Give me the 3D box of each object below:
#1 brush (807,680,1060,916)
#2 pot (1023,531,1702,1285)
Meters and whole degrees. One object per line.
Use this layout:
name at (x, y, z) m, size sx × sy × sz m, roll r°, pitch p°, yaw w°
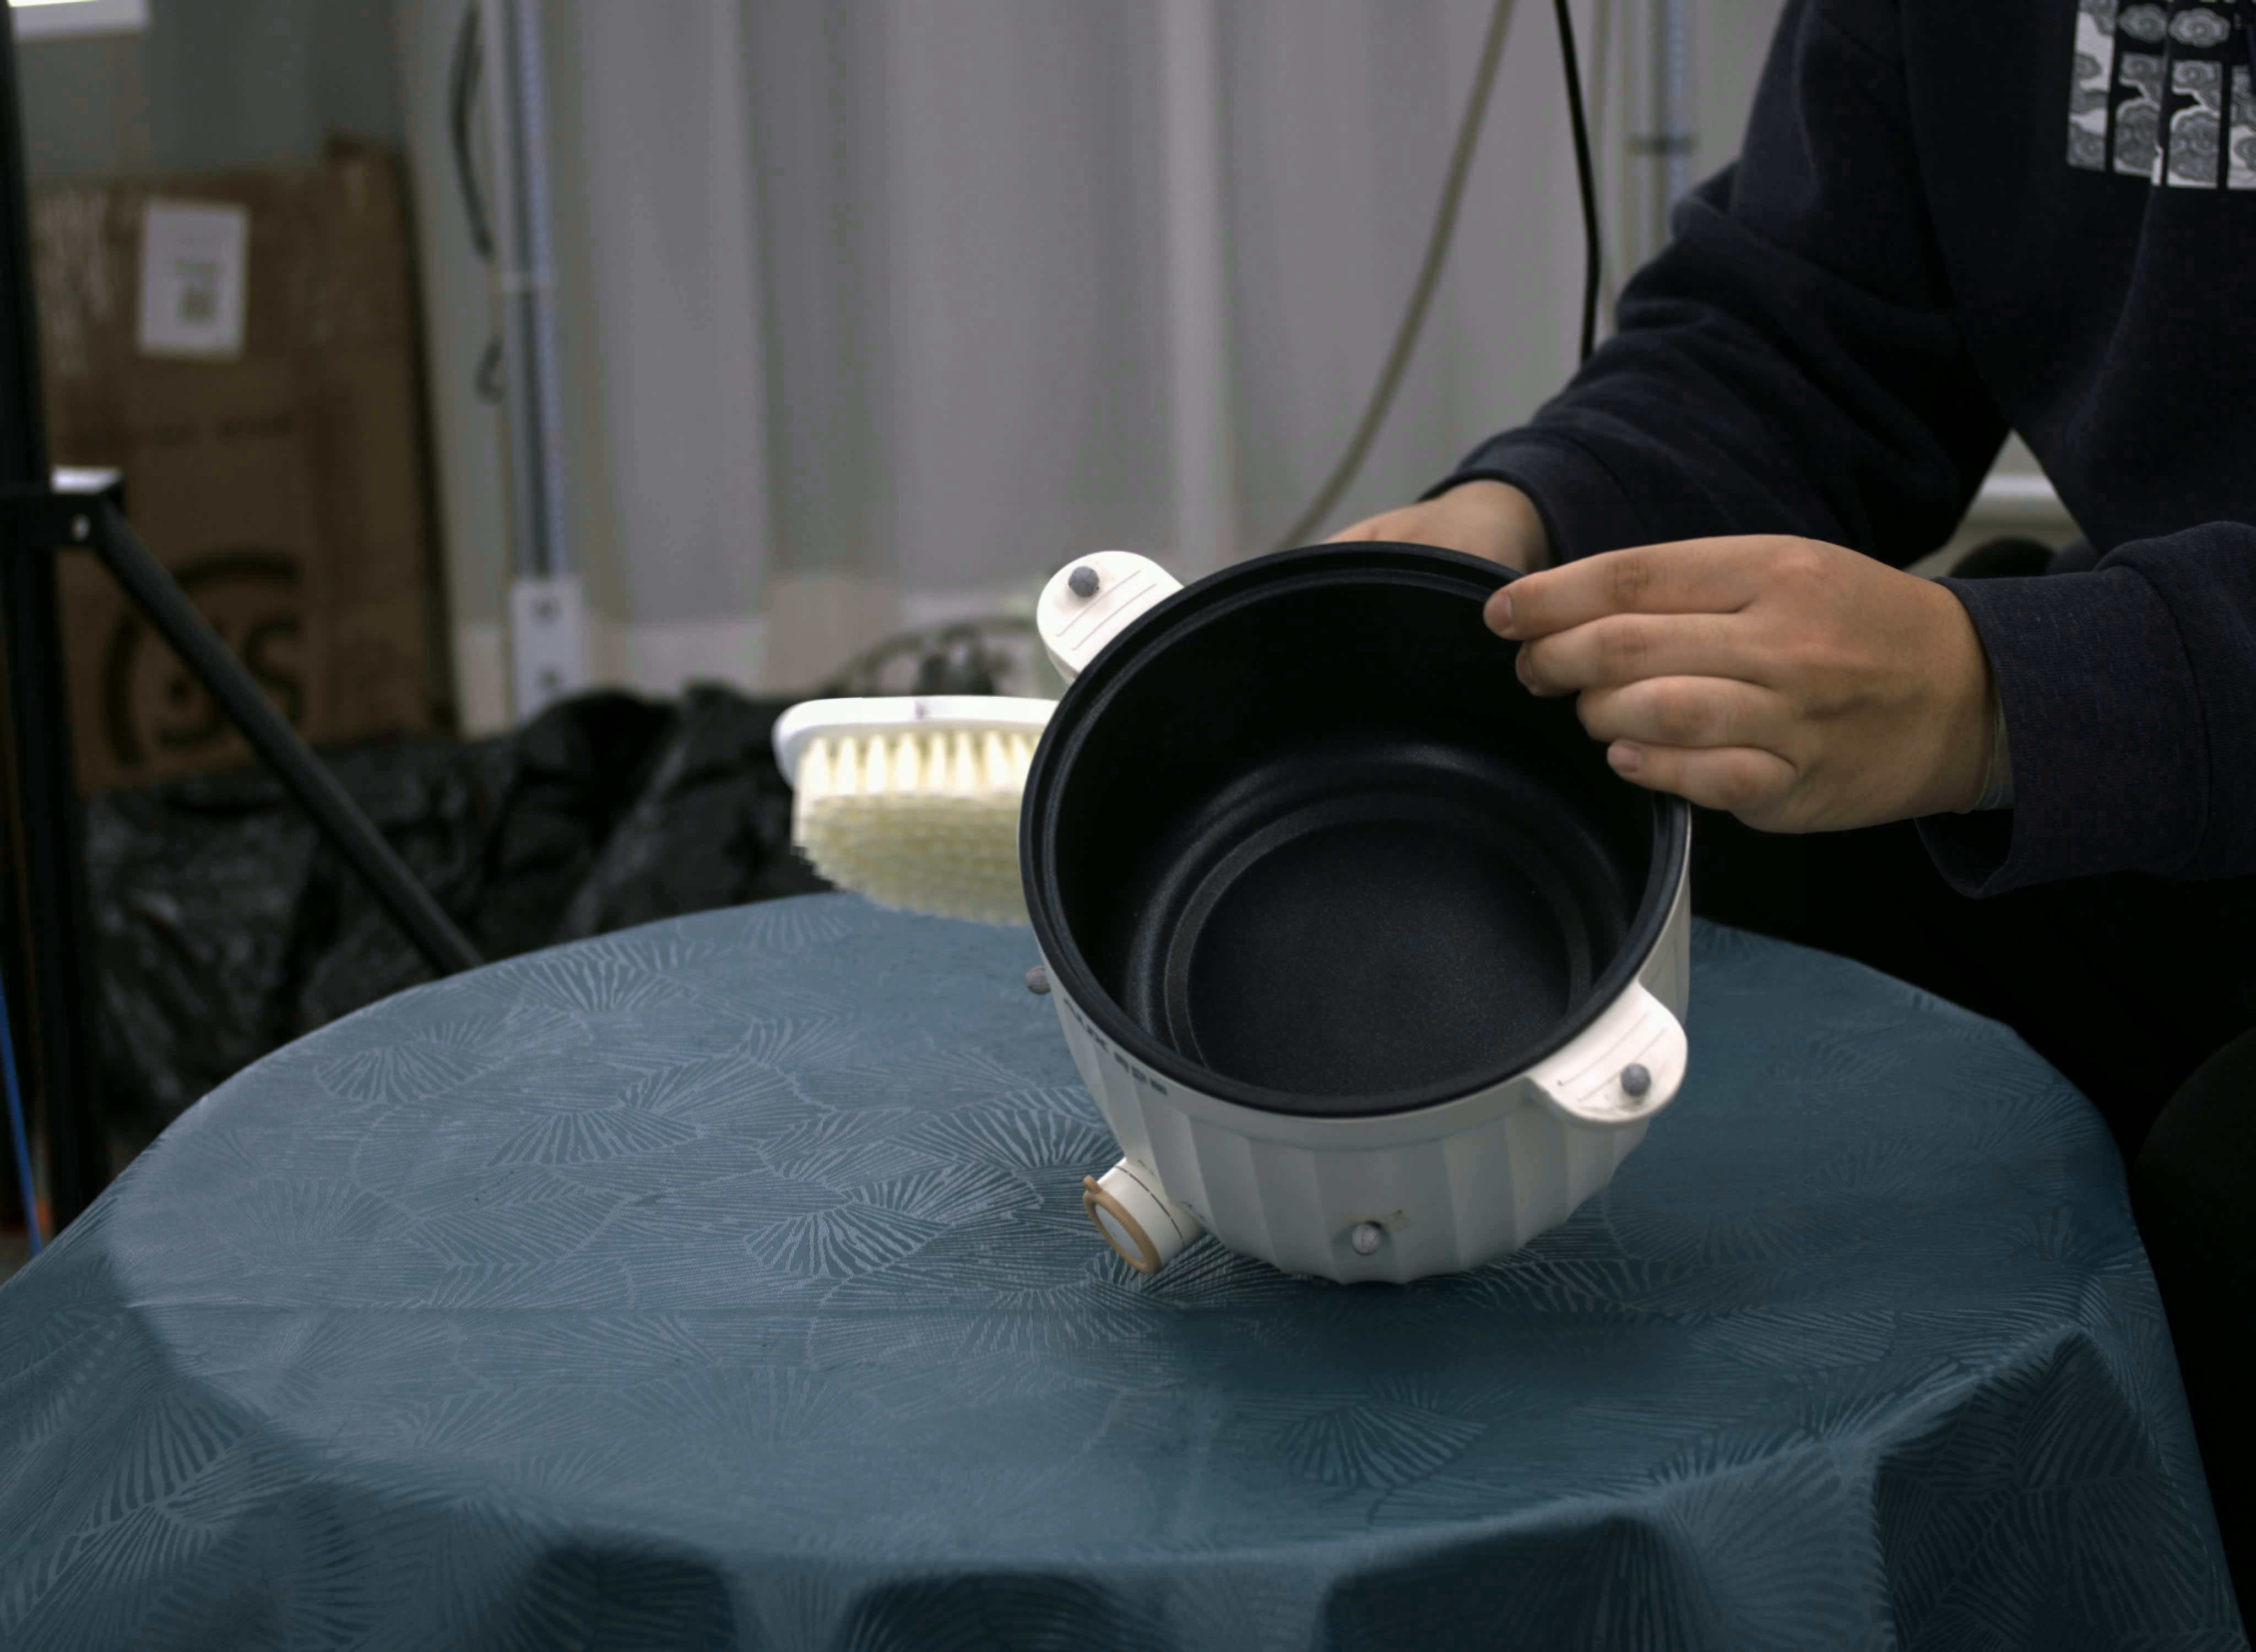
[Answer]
brush at (0.046, -0.017, 1.636) m, size 0.317 × 0.085 × 0.085 m, roll -5°, pitch 2°, yaw -37°
pot at (0.065, 0.035, 1.469) m, size 0.189 × 0.141 × 0.245 m, roll -38°, pitch 58°, yaw -18°
